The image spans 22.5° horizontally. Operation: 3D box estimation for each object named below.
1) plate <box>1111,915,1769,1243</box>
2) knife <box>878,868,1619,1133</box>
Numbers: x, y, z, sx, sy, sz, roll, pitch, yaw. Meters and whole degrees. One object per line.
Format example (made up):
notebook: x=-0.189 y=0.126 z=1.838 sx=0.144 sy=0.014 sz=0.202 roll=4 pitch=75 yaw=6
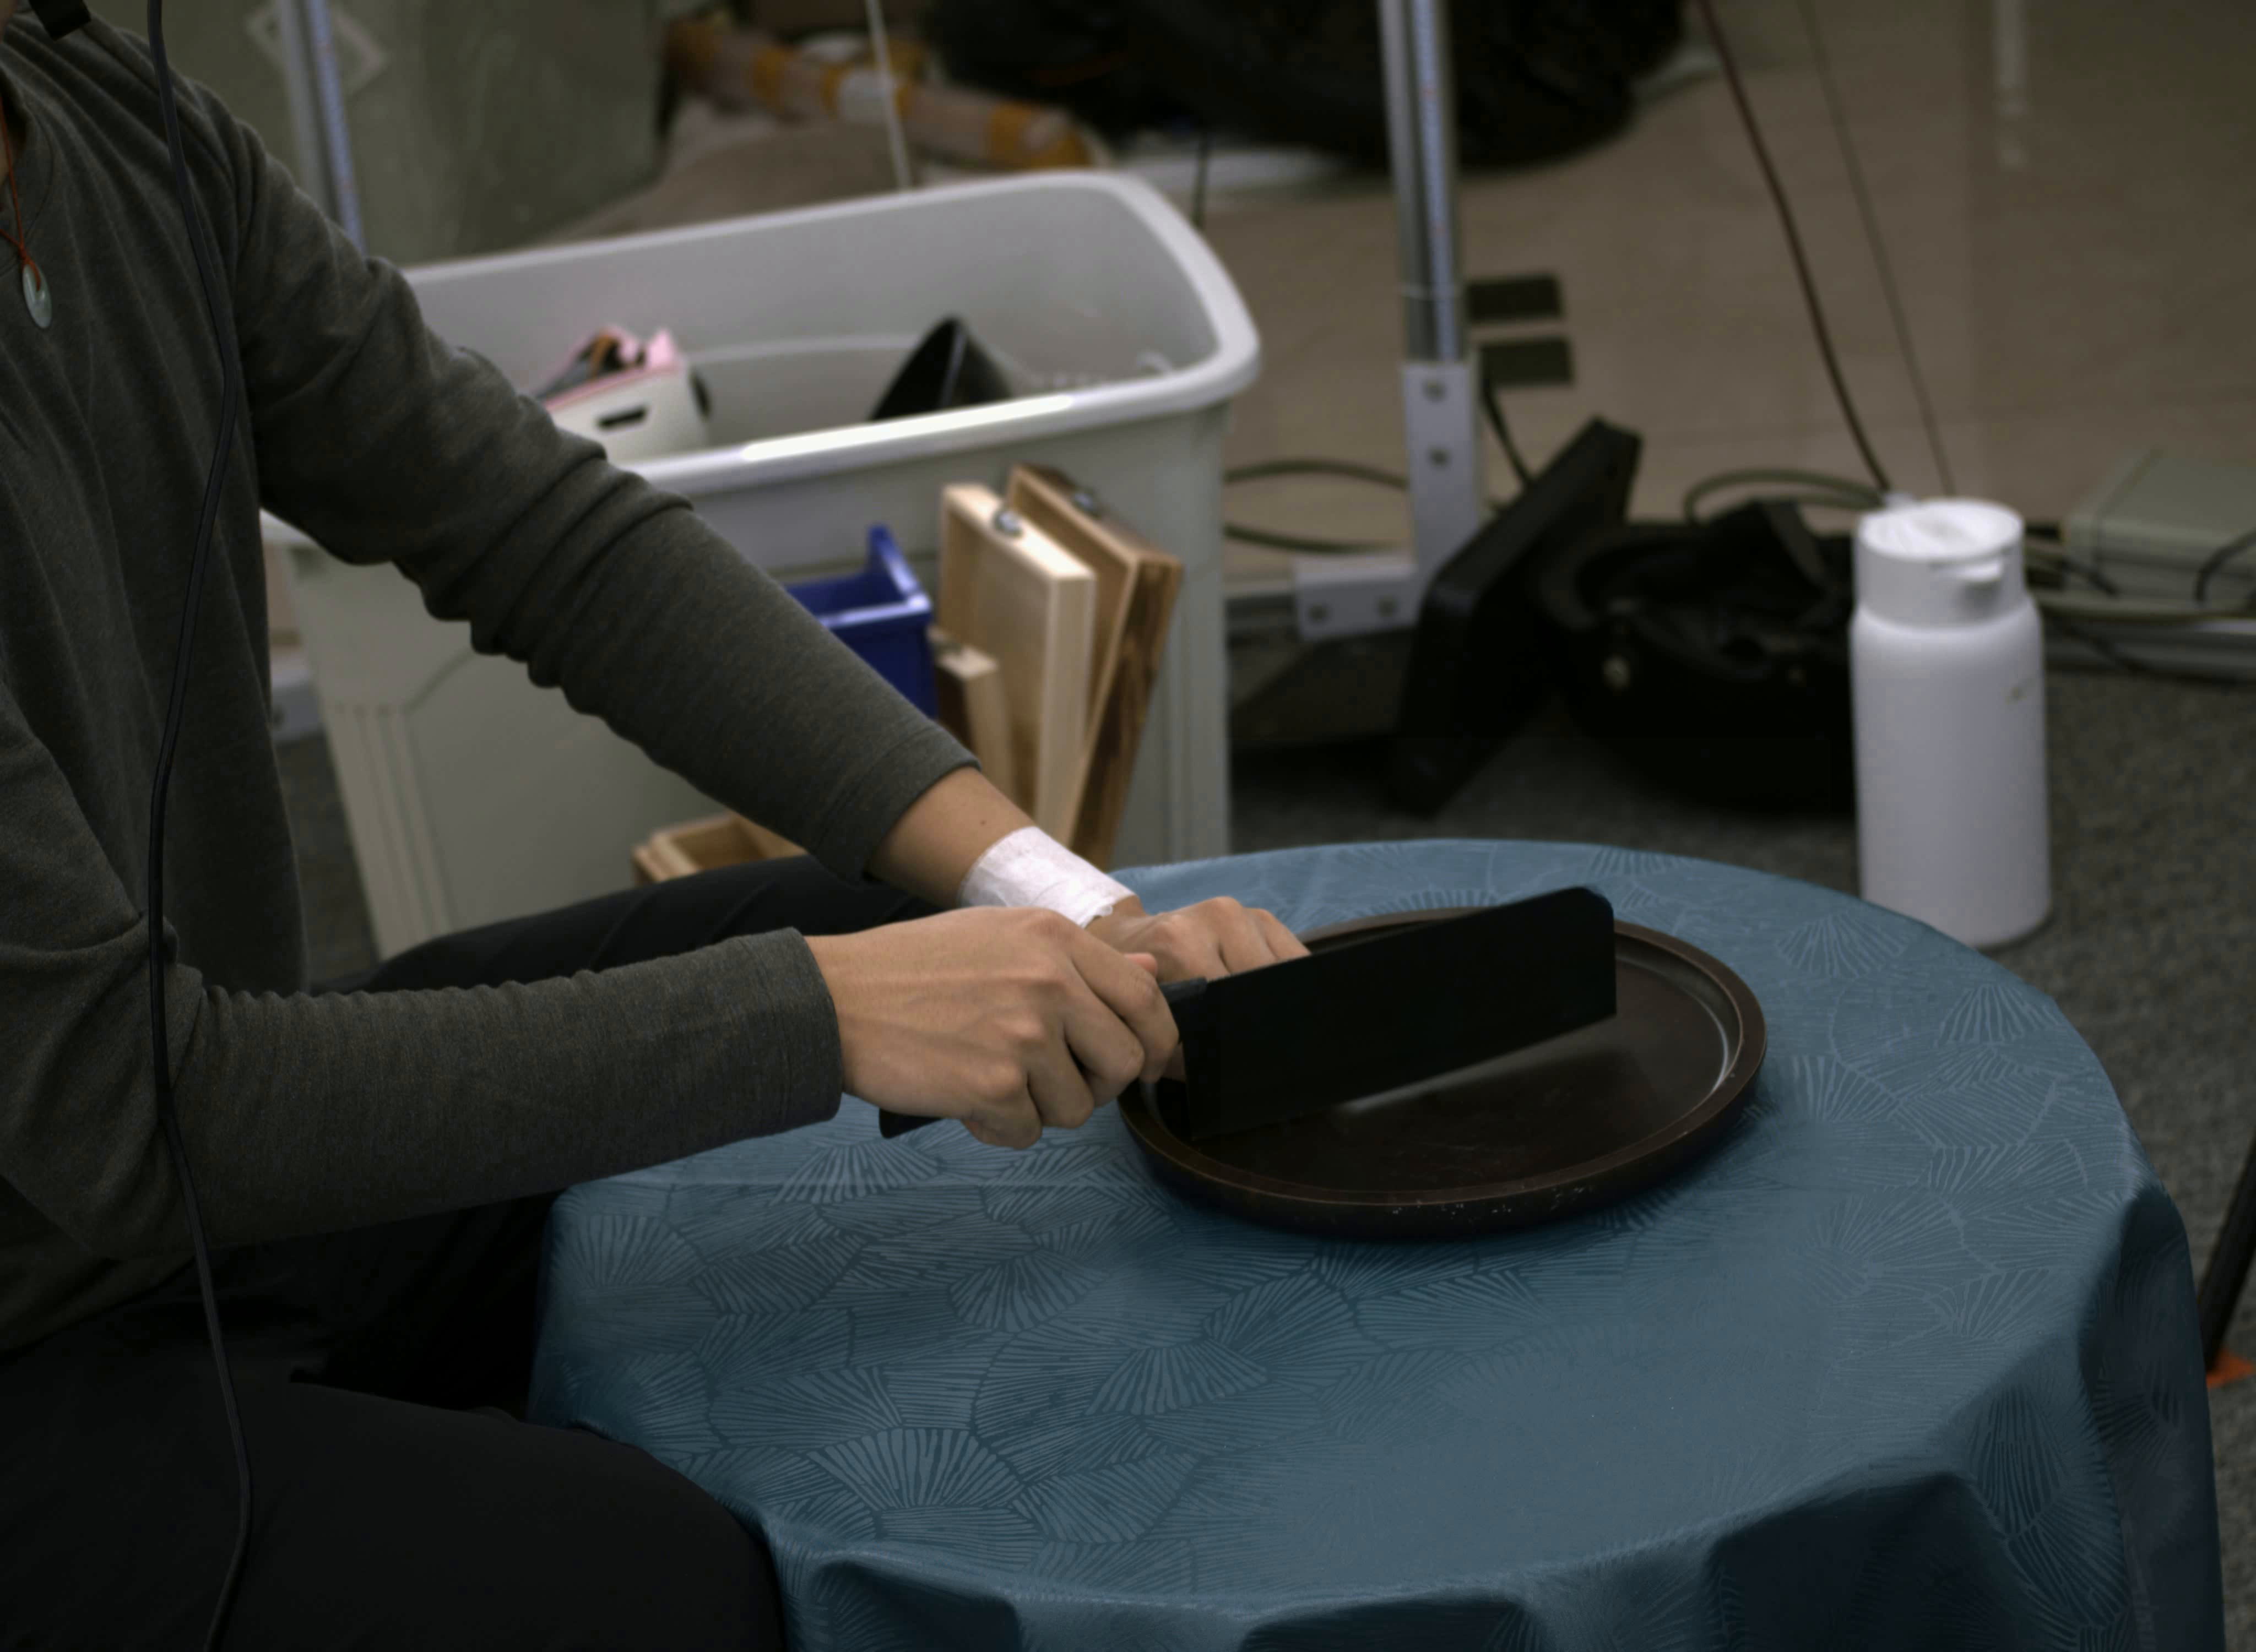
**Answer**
plate: x=0.120 y=0.095 z=2.189 sx=0.254 sy=0.029 sz=0.251 roll=-5 pitch=26 yaw=3
knife: x=0.049 y=0.075 z=2.139 sx=0.301 sy=0.082 sz=0.020 roll=-10 pitch=26 yaw=-19
